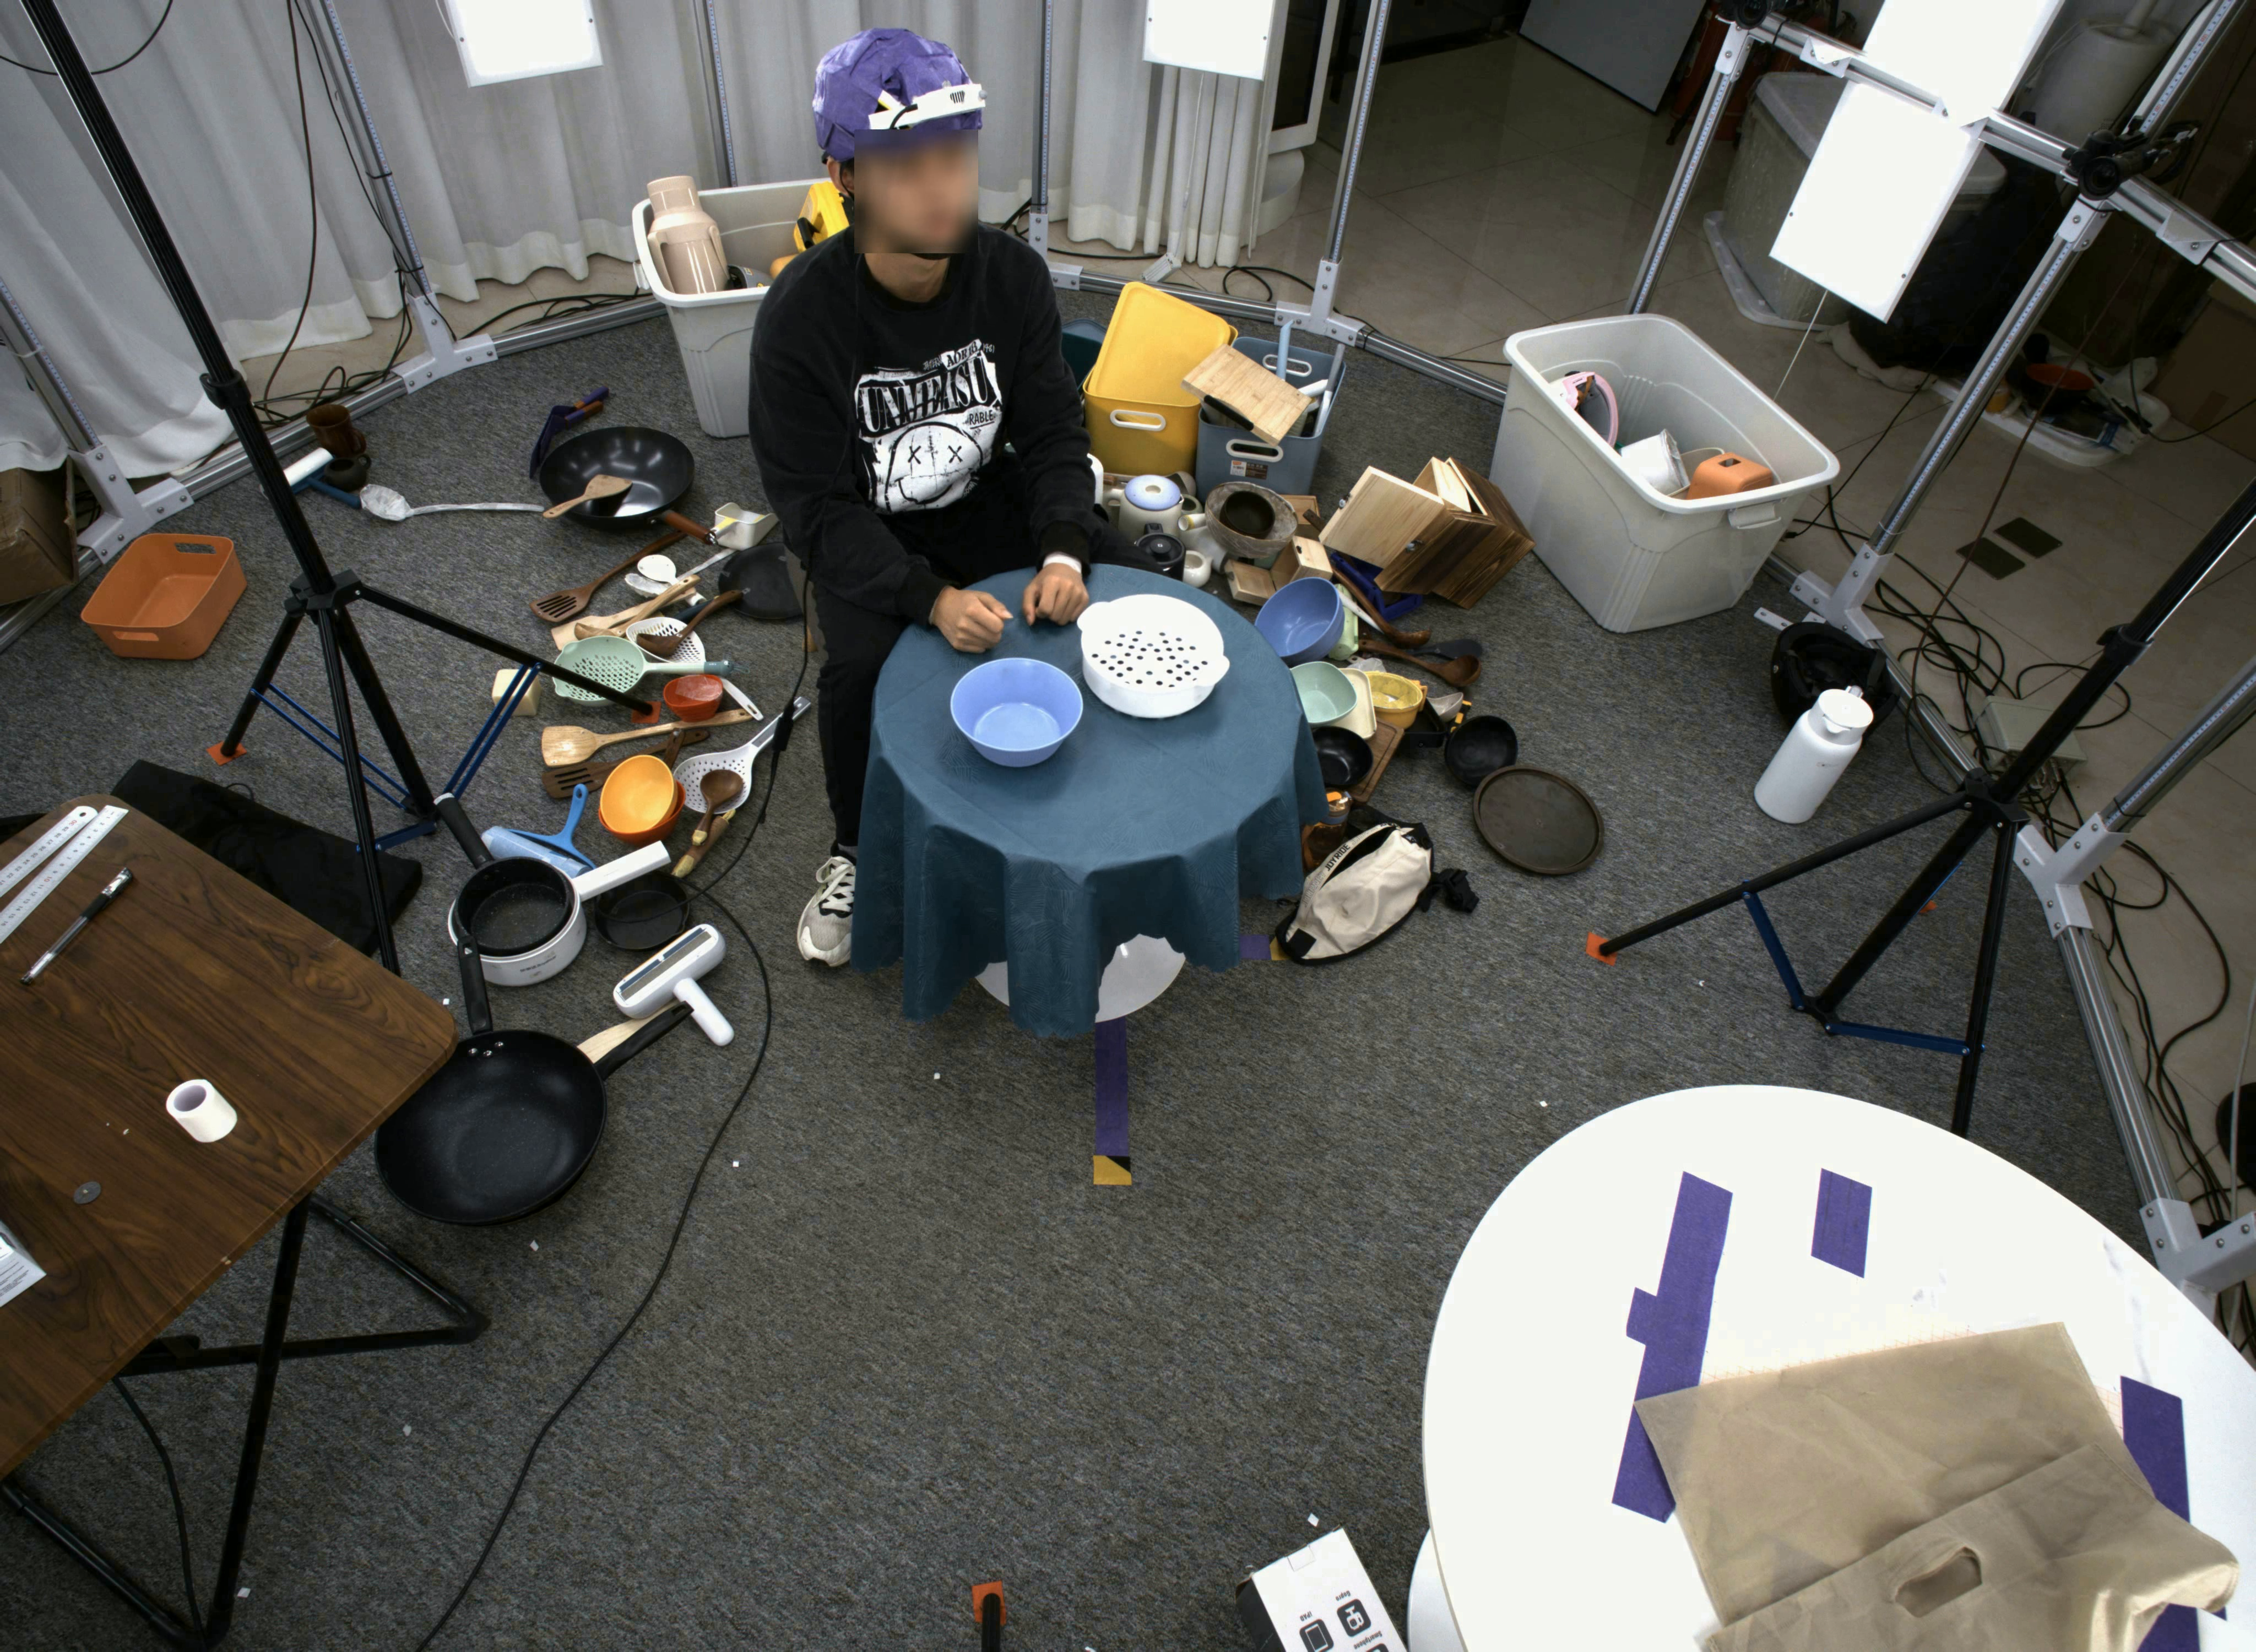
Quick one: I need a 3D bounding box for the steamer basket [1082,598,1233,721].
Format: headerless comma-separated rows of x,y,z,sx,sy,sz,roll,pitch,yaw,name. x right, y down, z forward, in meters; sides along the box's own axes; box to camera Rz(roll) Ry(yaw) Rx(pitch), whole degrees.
0.039,-0.239,1.851,0.232,0.067,0.205,28,53,17,steamer basket

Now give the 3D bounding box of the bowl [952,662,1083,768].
-0.151,-0.142,1.752,0.176,0.068,0.180,2,48,-3,bowl
